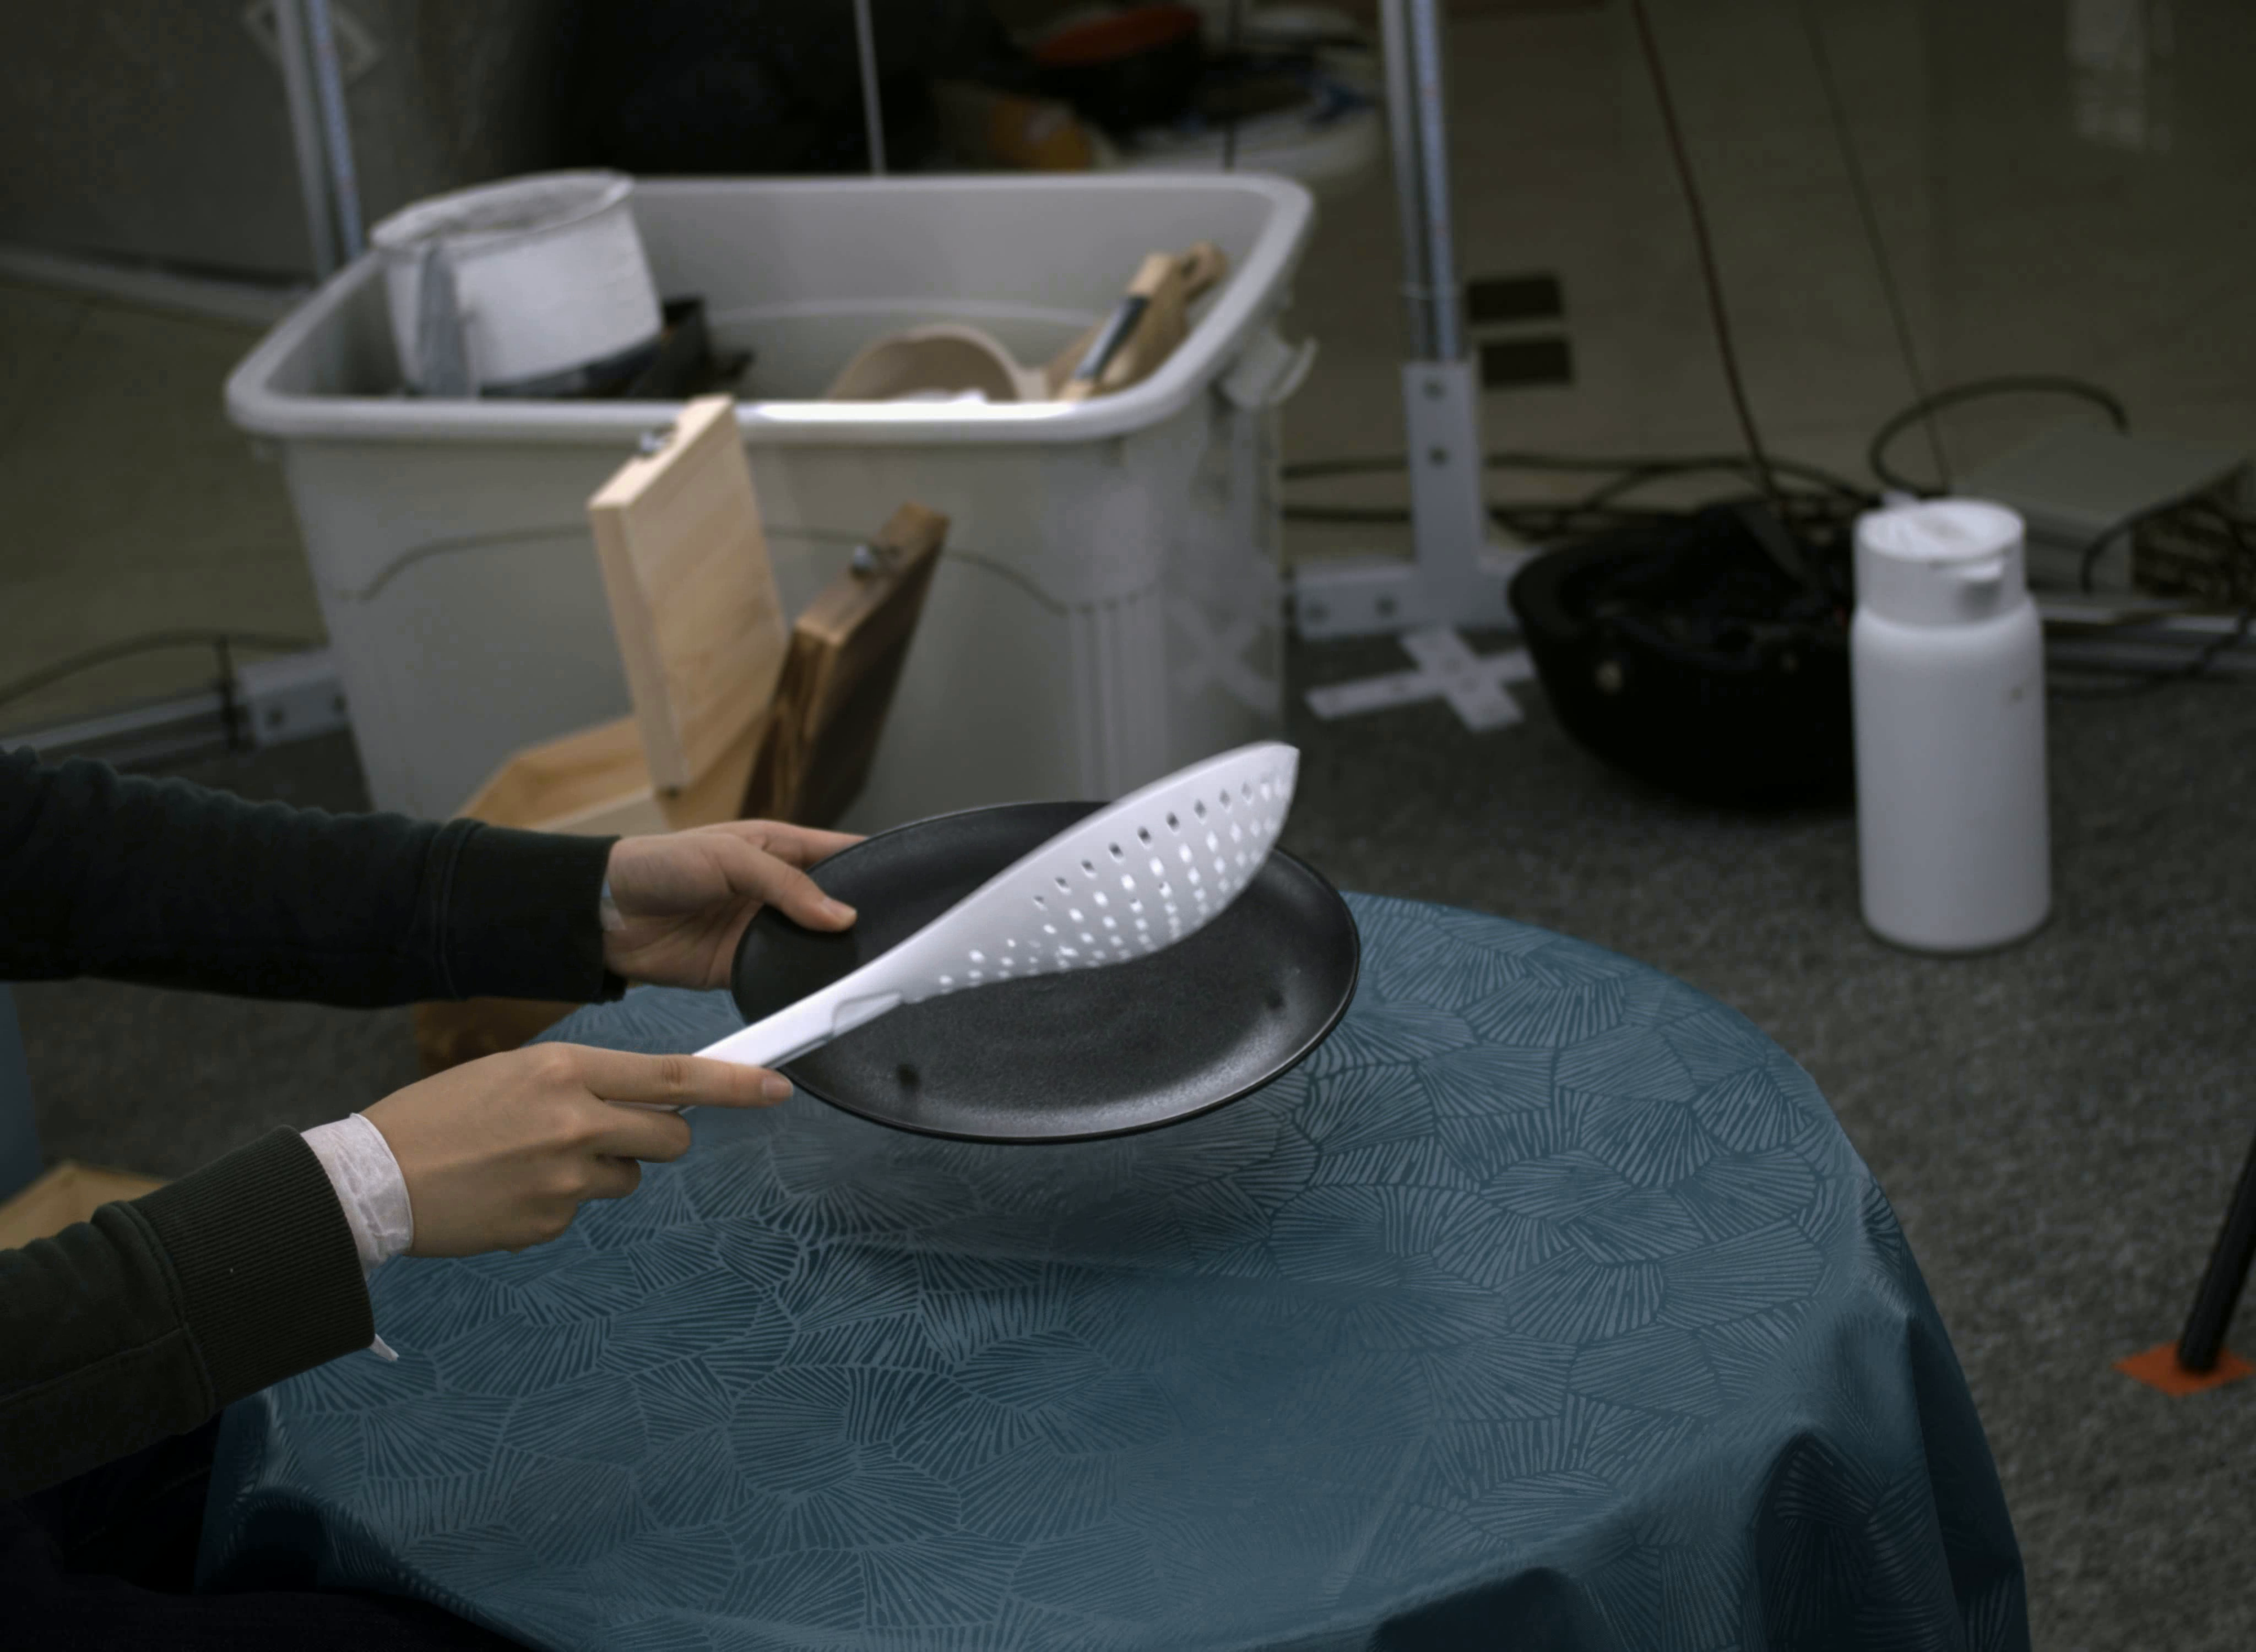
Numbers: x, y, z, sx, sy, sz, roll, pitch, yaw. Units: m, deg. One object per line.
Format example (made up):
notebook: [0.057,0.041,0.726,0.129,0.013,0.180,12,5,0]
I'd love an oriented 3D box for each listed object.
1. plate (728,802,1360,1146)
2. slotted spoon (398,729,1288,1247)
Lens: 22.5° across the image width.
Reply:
plate: [-0.032,0.061,2.180,0.244,0.024,0.240,-2,31,1]
slotted spoon: [-0.095,0.058,1.968,0.349,0.045,0.137,-23,-13,-6]
